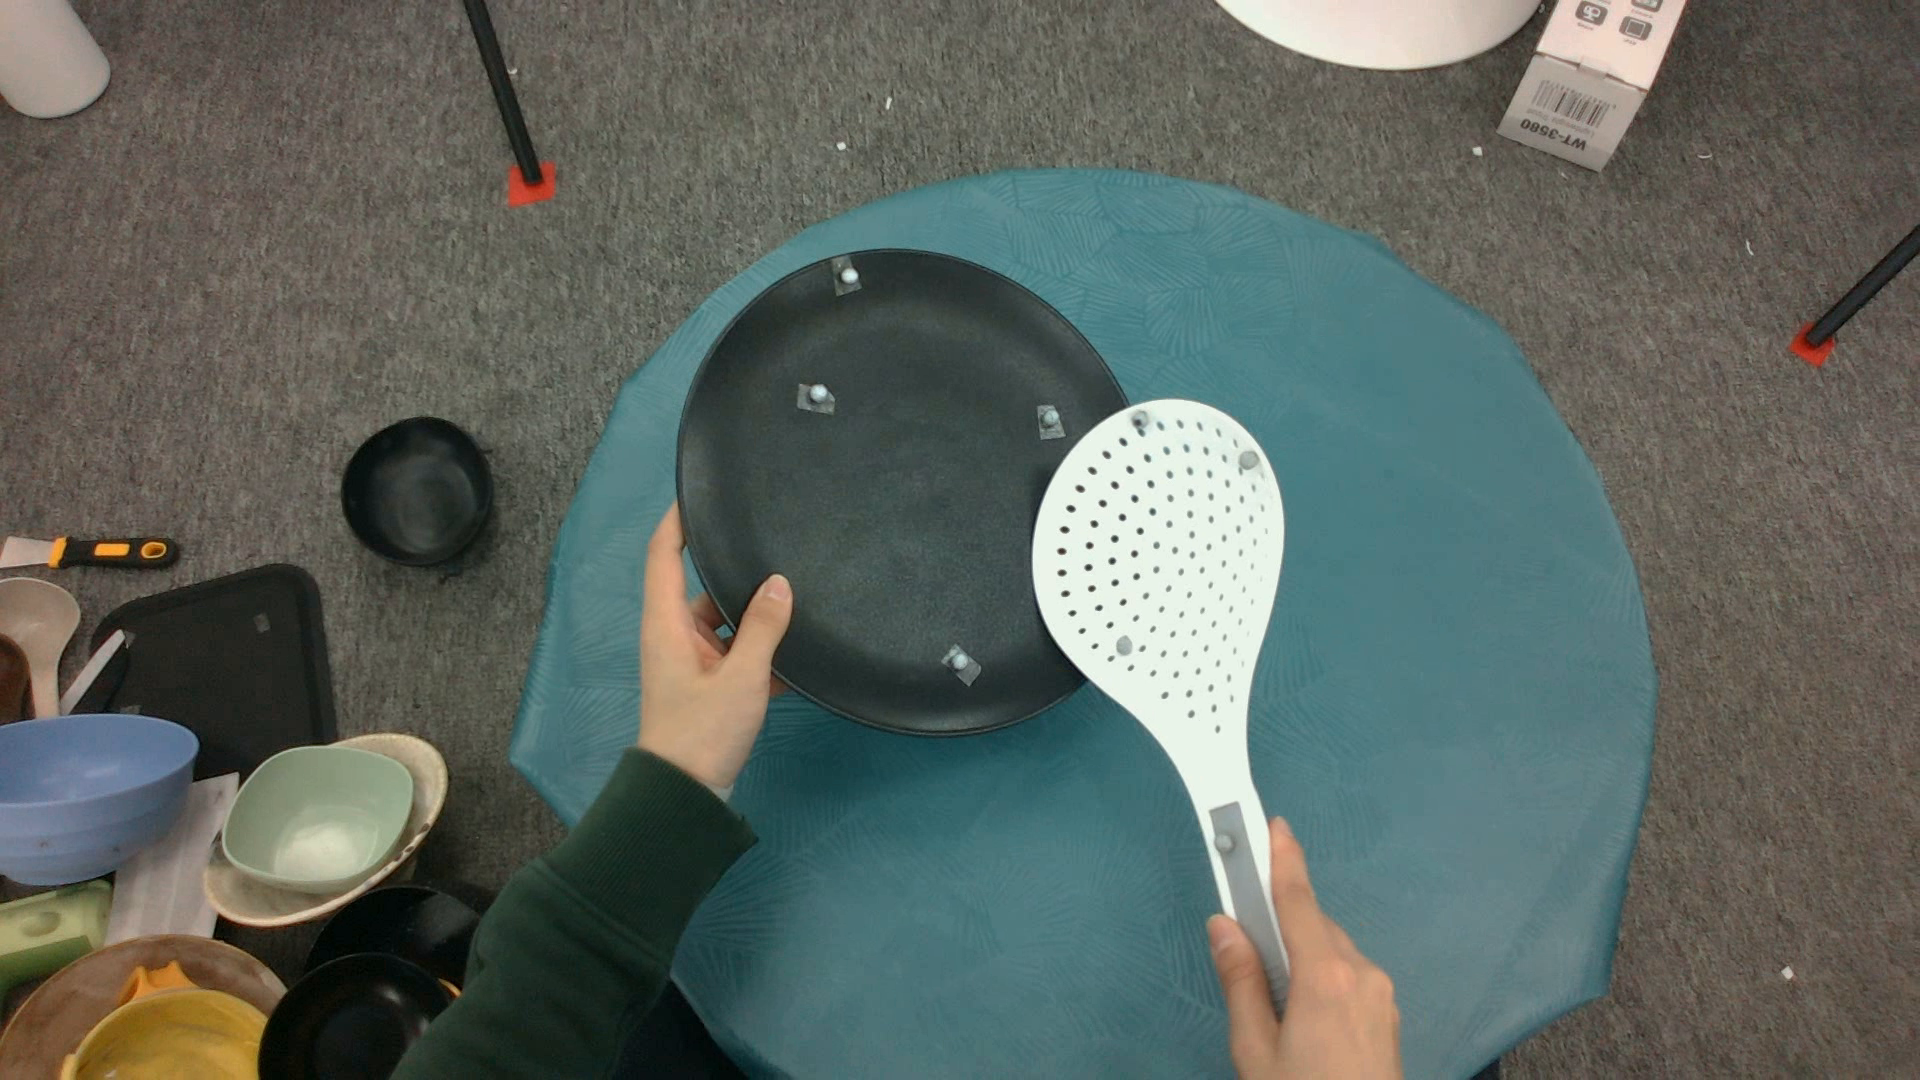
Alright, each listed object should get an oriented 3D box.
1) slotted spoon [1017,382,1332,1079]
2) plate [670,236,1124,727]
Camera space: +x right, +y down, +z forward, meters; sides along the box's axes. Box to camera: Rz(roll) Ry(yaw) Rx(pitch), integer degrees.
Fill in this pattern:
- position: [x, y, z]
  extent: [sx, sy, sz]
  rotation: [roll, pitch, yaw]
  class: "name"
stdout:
- position: [0.107, 0.093, 0.602]
  extent: [0.046, 0.135, 0.351]
  rotation: [16, 55, -45]
  class: "slotted spoon"
- position: [-0.020, -0.031, 0.667]
  extent: [0.245, 0.023, 0.245]
  rotation: [6, 74, -21]
  class: "plate"
